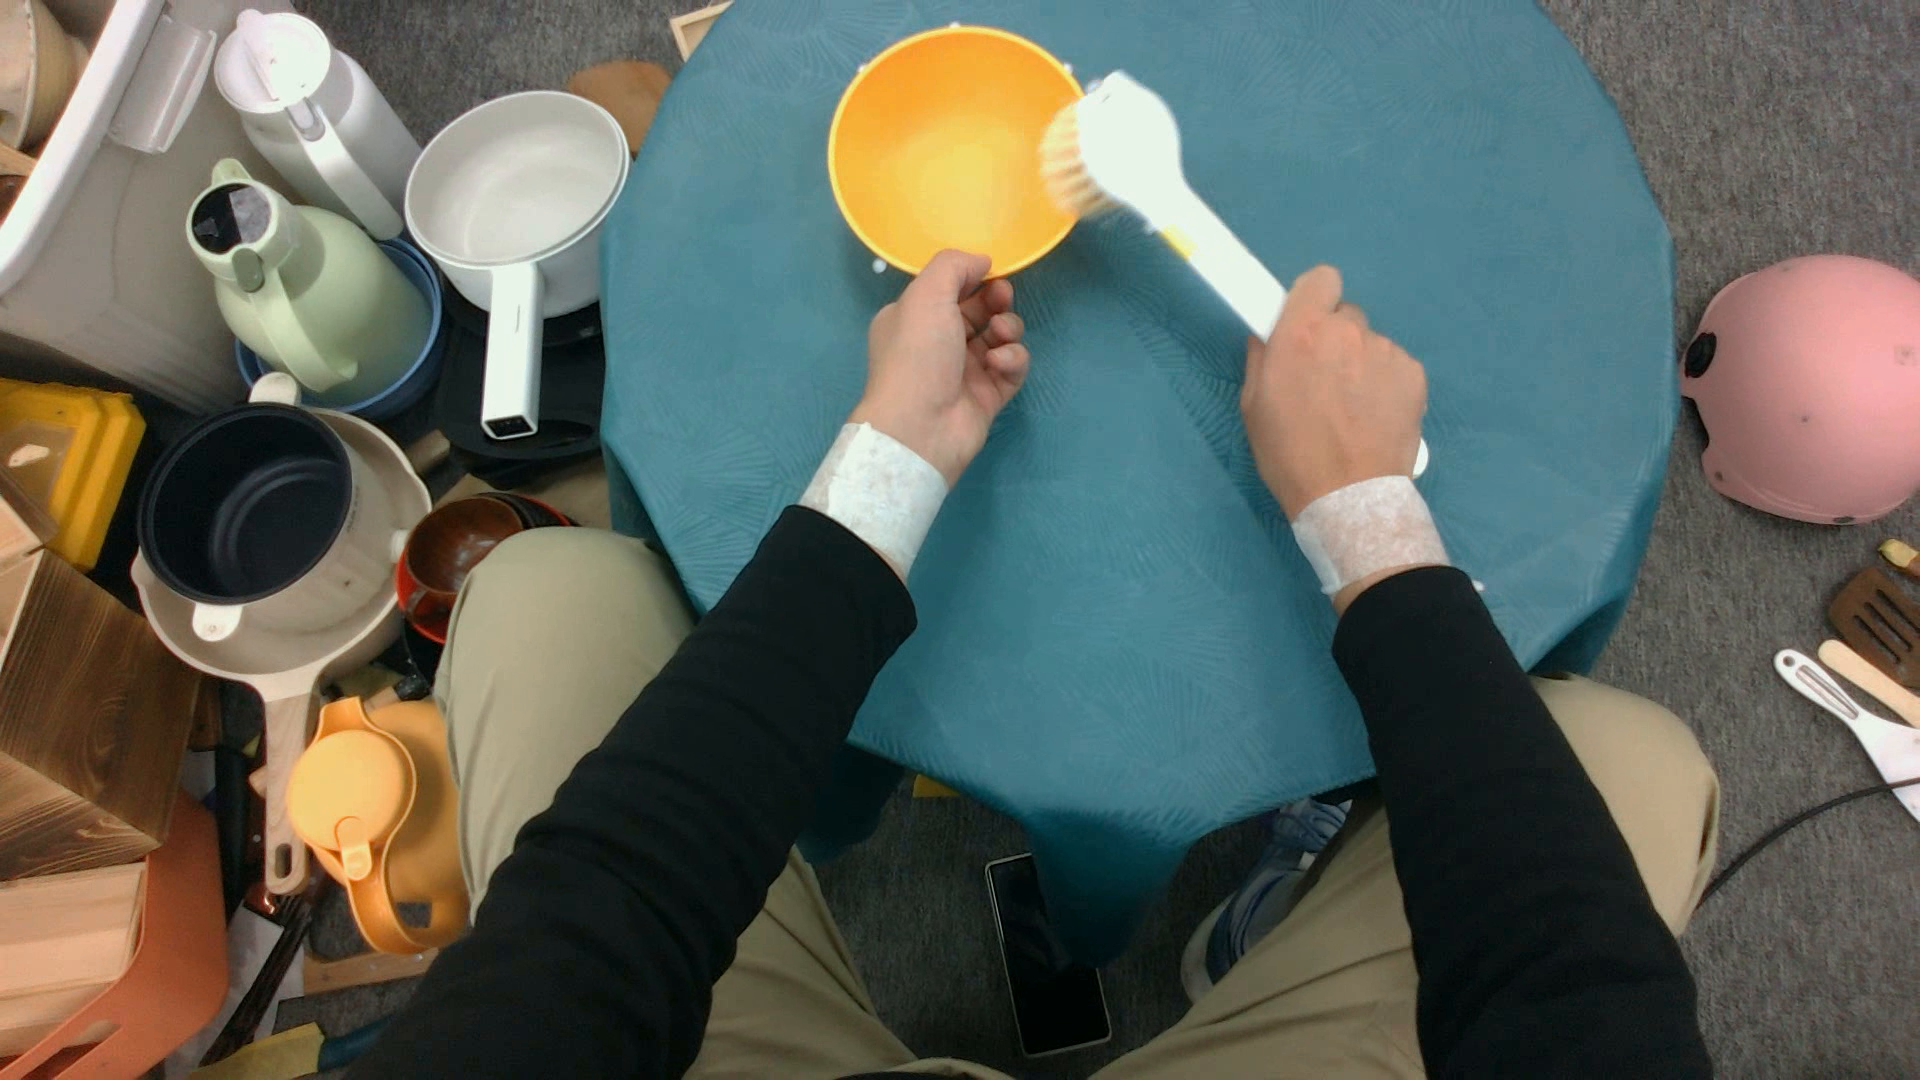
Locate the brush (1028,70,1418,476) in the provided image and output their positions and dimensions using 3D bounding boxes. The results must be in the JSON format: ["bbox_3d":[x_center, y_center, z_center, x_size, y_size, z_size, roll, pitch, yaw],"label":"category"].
[{"bbox_3d":[0.136,-0.132,0.721,0.069,0.056,0.266,-44,96,-16],"label":"brush"}]

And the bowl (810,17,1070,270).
[{"bbox_3d":[-0.007,-0.209,0.762,0.145,0.060,0.145,0,78,1],"label":"bowl"}]
